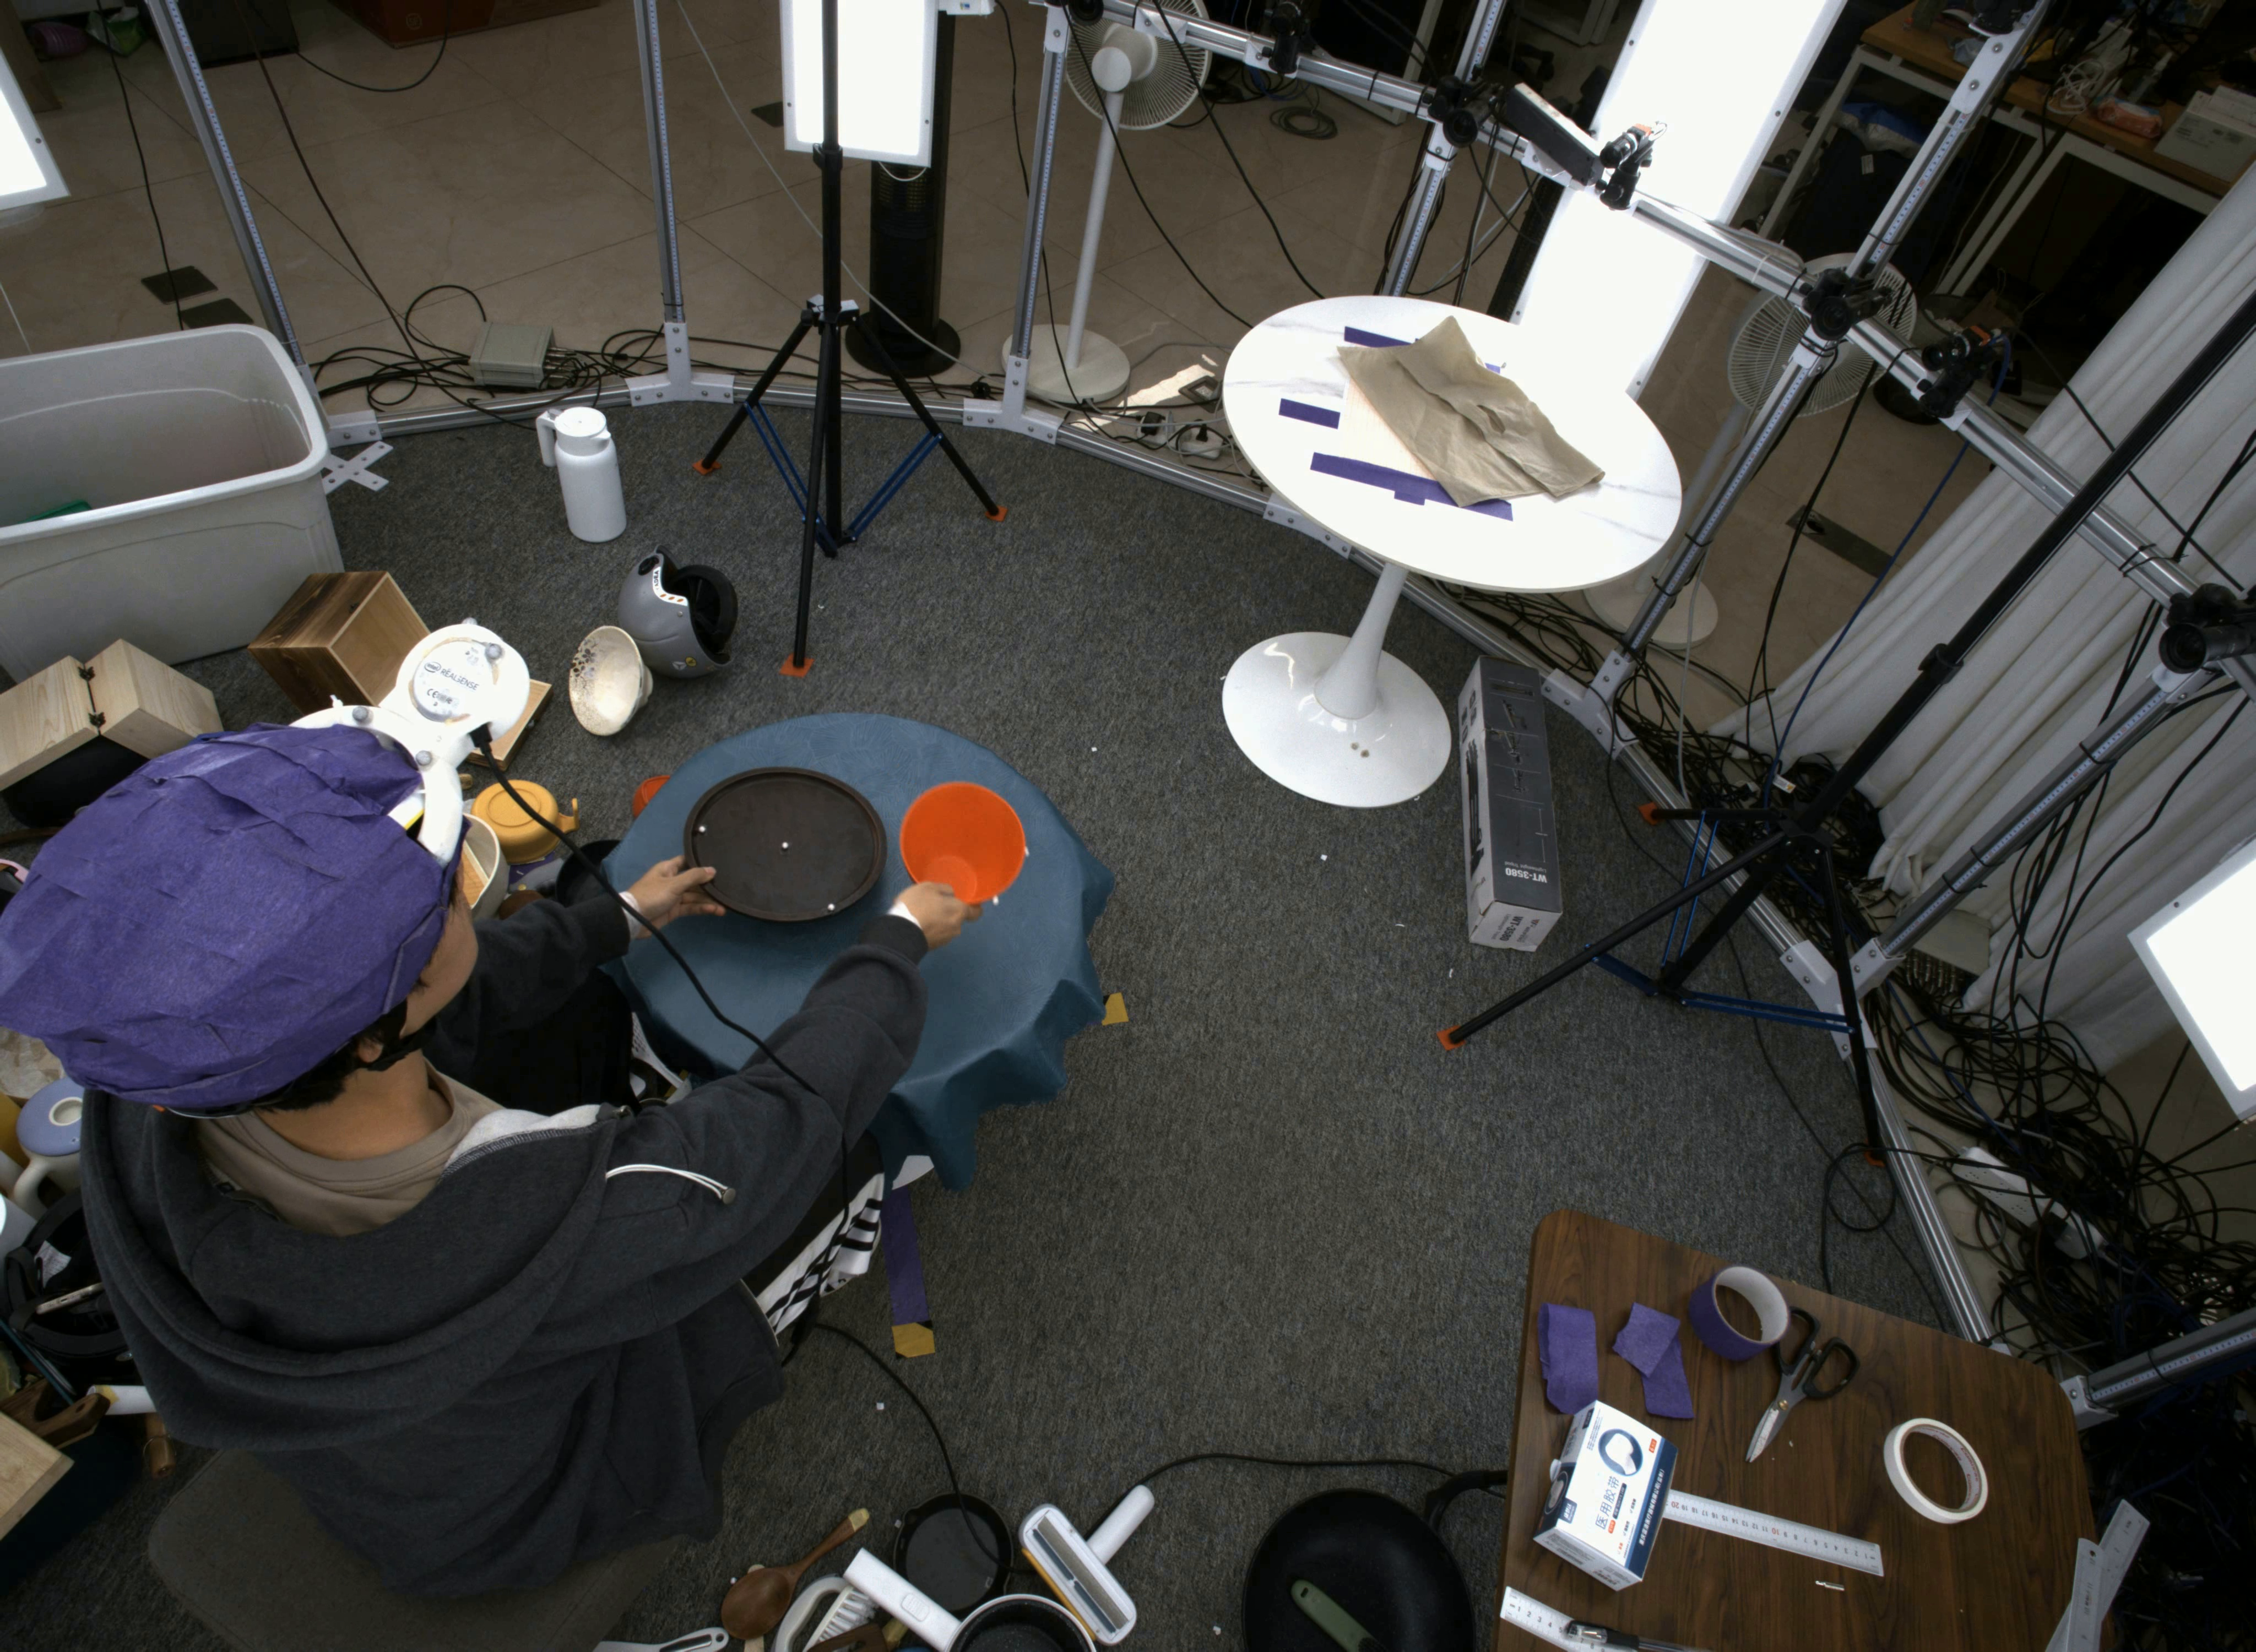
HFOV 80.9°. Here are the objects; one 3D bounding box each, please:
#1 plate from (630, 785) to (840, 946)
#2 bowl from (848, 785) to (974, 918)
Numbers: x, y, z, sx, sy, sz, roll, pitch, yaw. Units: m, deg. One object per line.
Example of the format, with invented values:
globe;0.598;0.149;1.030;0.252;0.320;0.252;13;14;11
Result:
plate;-0.486;0.045;1.604;0.255;0.029;0.250;12;48;-12
bowl;-0.260;0.042;1.537;0.149;0.105;0.146;9;60;-14
